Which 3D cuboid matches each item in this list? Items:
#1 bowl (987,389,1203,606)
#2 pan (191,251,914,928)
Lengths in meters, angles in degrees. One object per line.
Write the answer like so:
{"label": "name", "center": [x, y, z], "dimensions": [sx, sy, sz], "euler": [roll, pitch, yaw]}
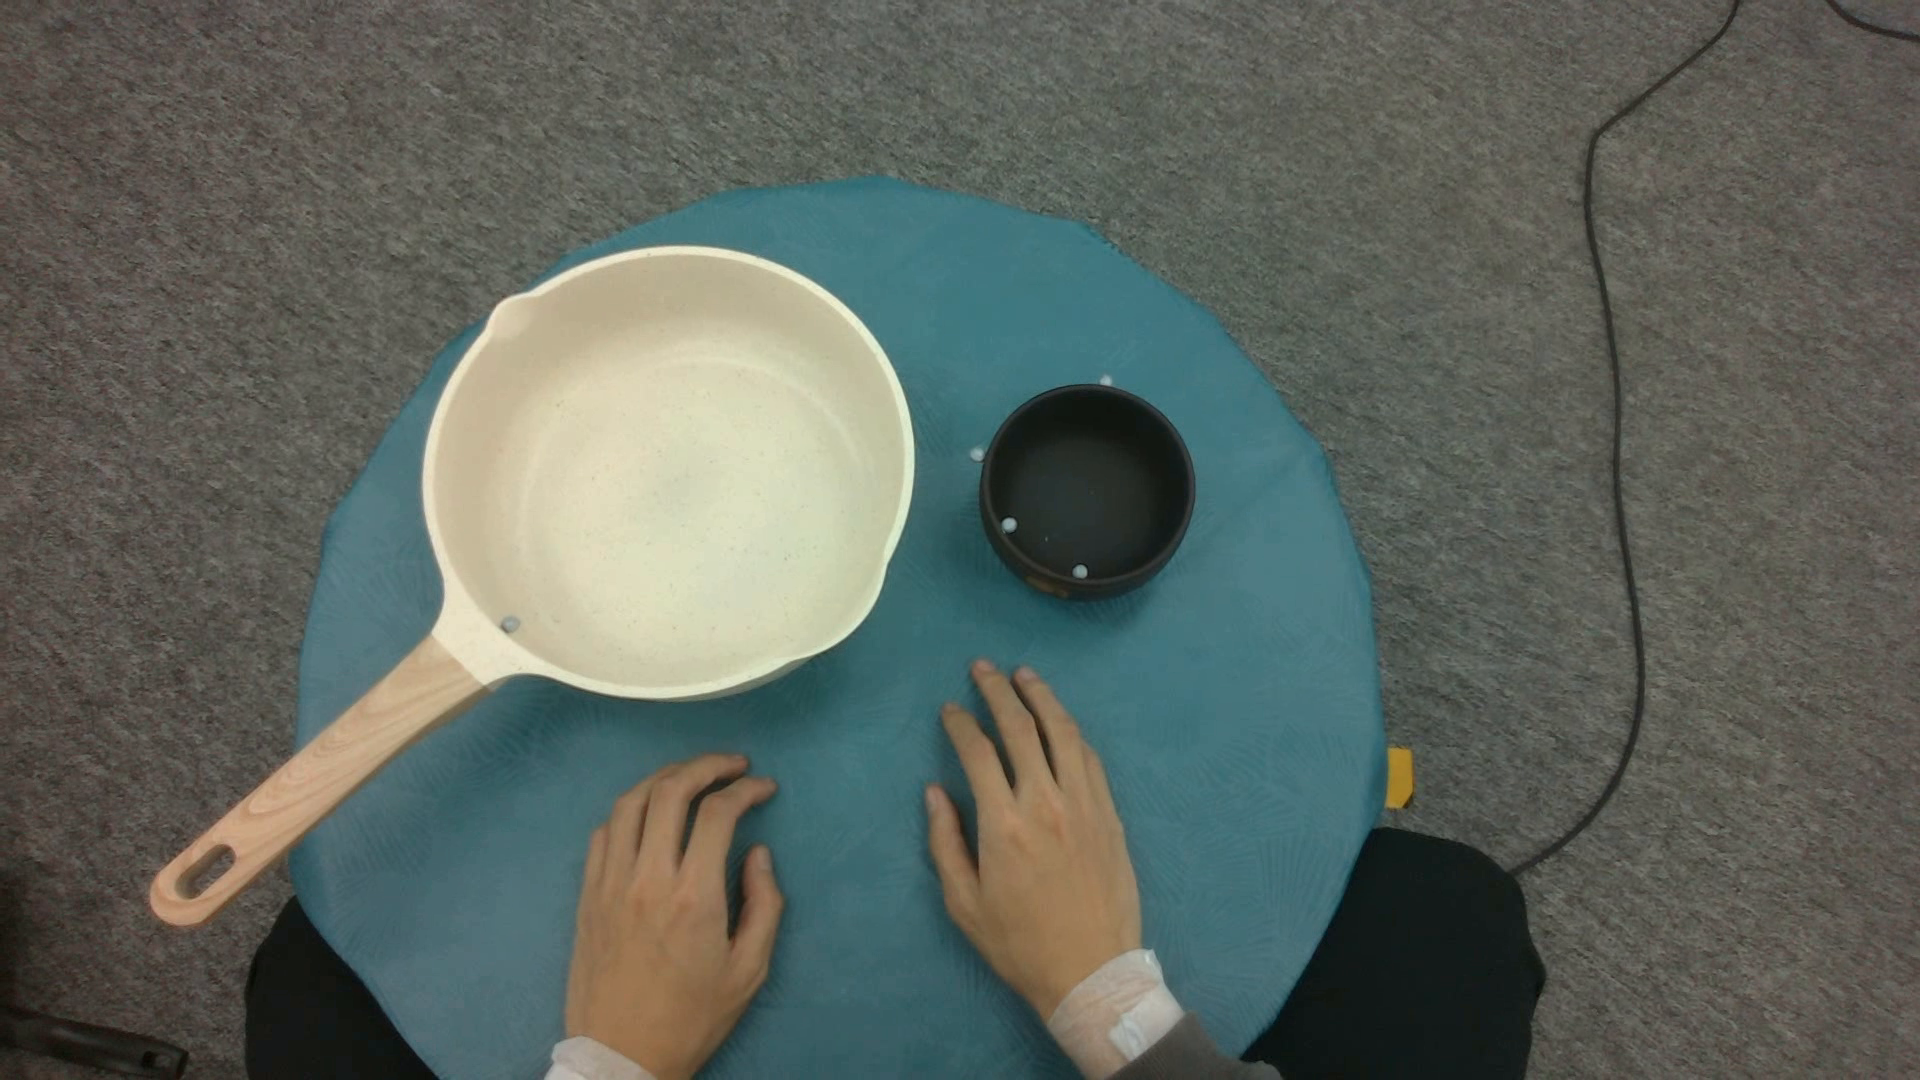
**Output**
{"label": "bowl", "center": [0.073, -0.019, 0.774], "dimensions": [0.118, 0.069, 0.118], "euler": [1, 72, -2]}
{"label": "pan", "center": [-0.212, 0.033, 0.738], "dimensions": [0.263, 0.101, 0.436], "euler": [41, 76, 10]}
